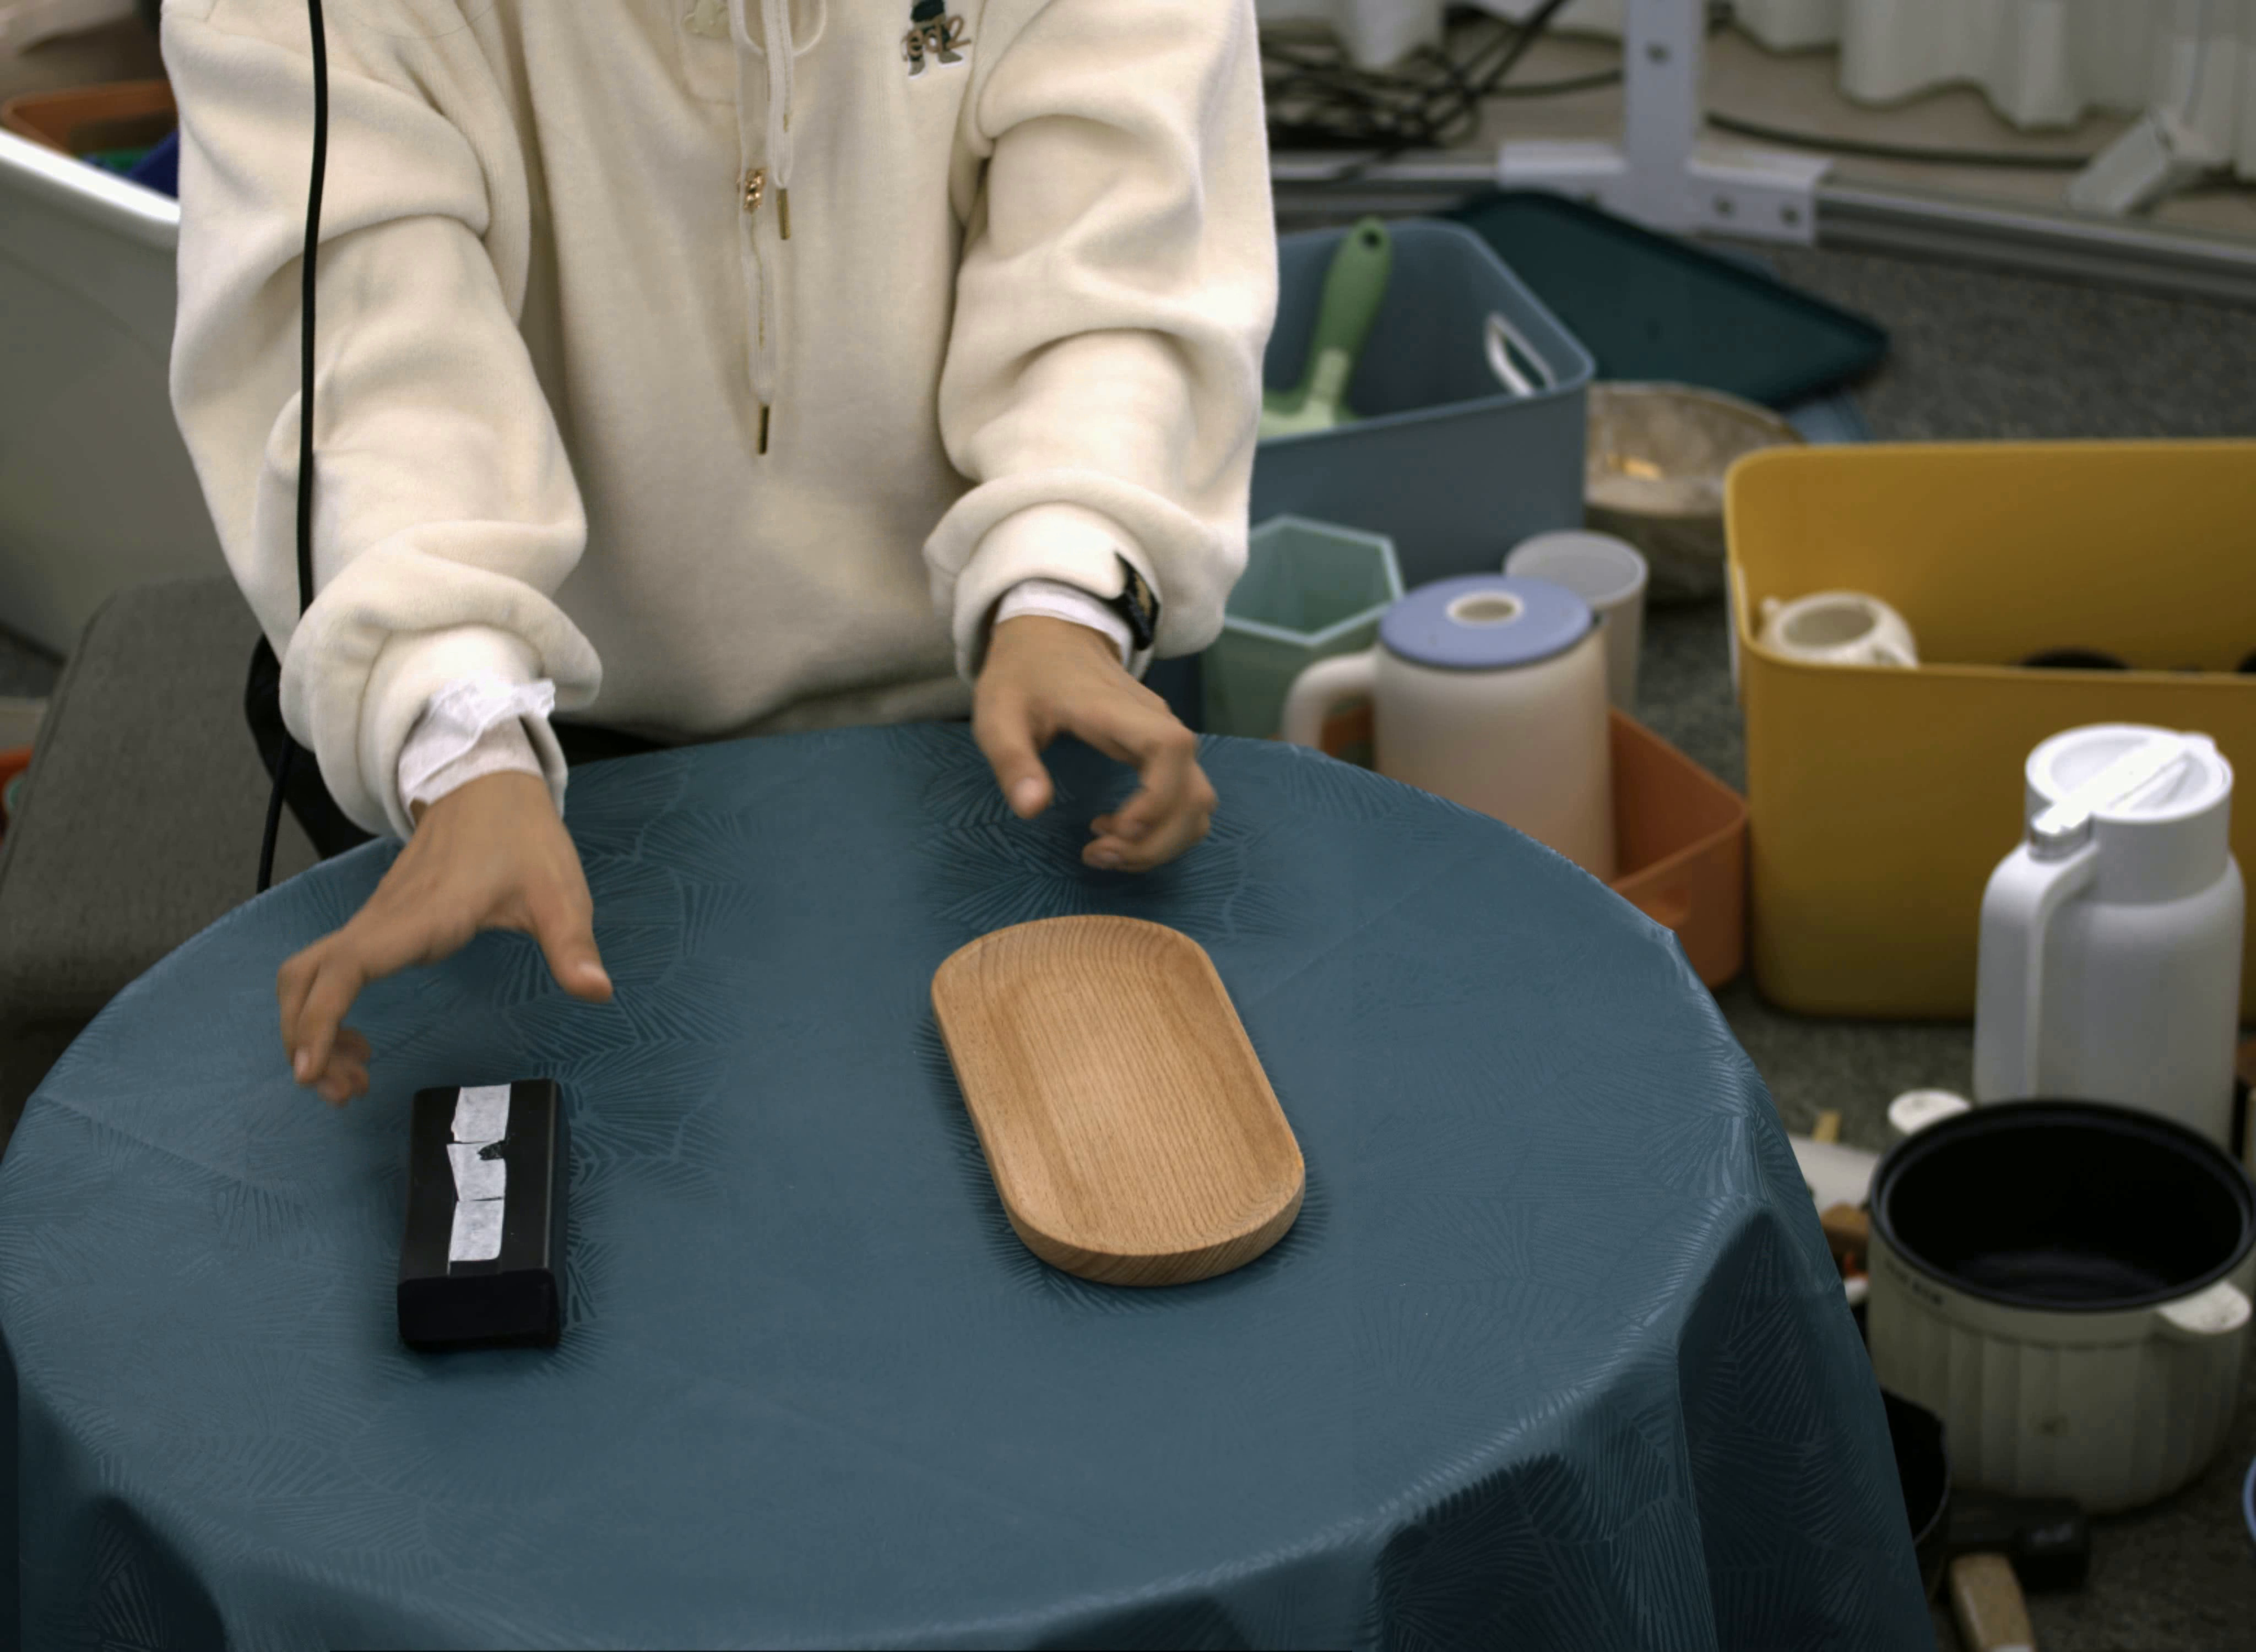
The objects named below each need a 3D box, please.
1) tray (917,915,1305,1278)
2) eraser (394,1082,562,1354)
[{"bbox_3d":[-0.008,0.090,1.907,0.101,0.020,0.233,-8,26,-11],"label":"tray"},{"bbox_3d":[-0.212,0.128,1.838,0.053,0.030,0.127,1,28,-6],"label":"eraser"}]
